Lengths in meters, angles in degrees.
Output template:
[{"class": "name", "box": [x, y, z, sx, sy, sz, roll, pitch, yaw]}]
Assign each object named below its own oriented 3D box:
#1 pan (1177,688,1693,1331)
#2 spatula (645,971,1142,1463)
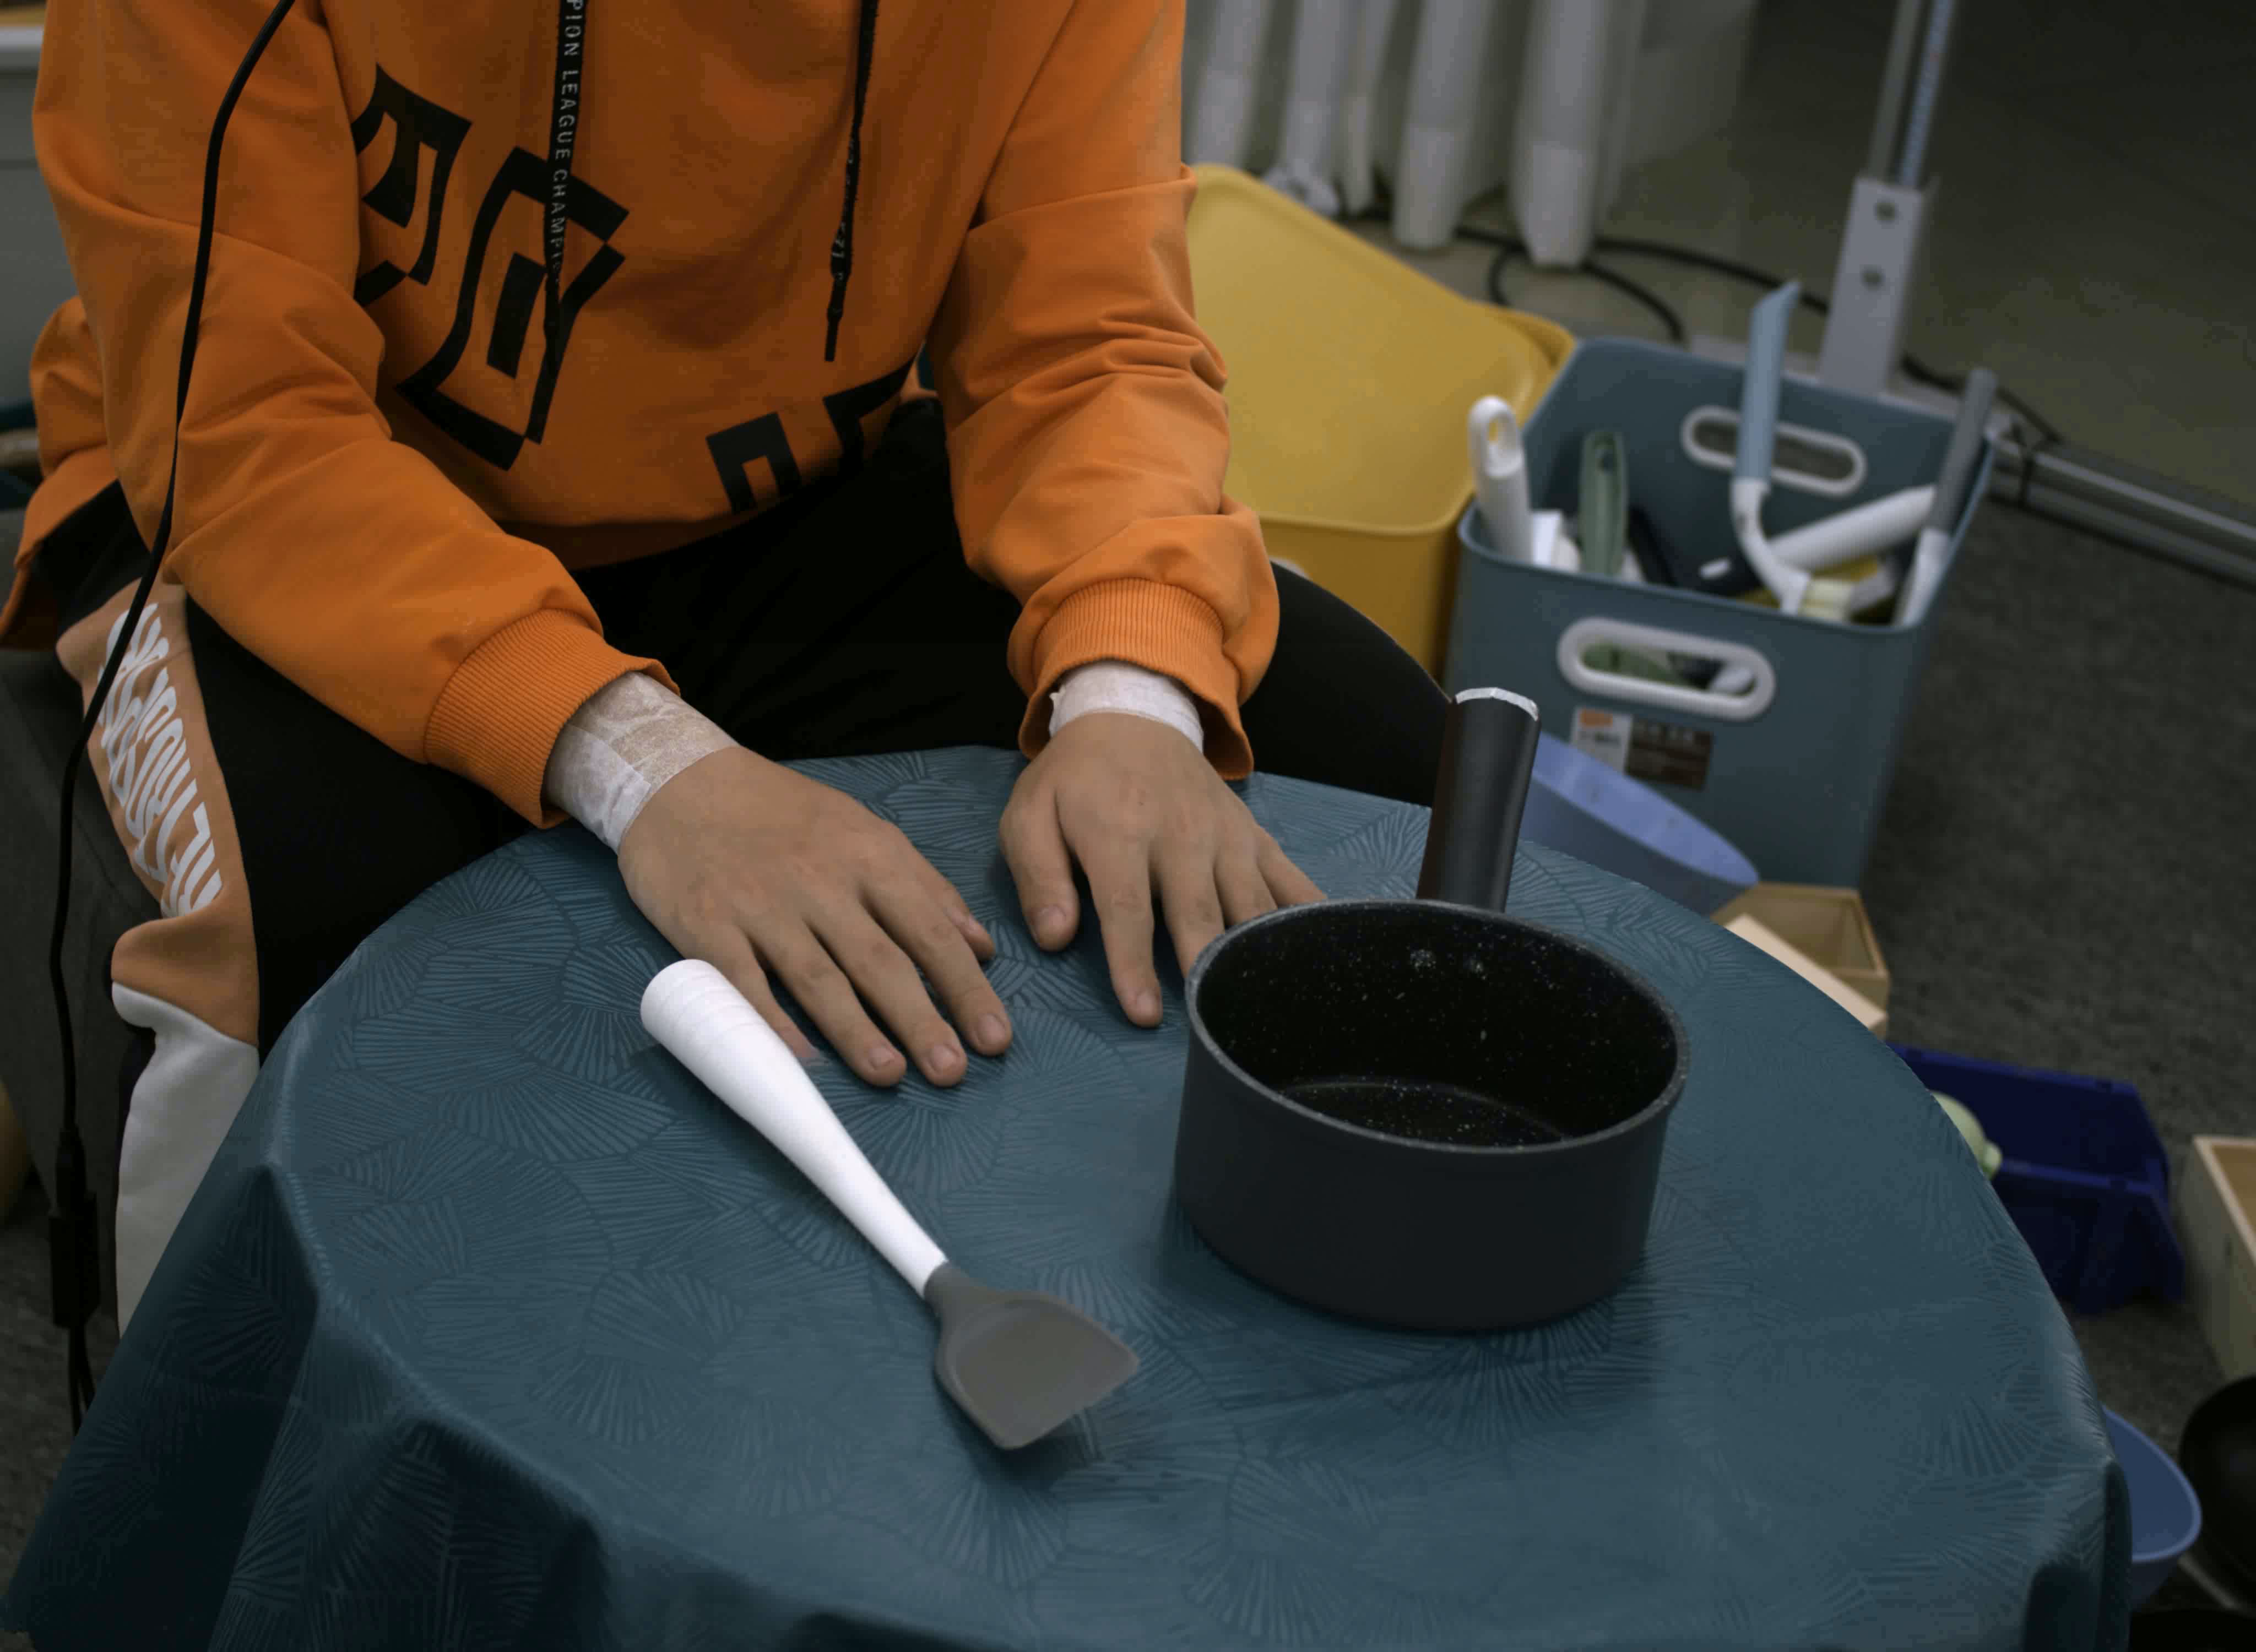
[{"class": "pan", "box": [0.114, 0.059, 1.861, 0.172, 0.086, 0.330, 11, 29, 7]}, {"class": "spatula", "box": [-0.082, 0.126, 1.745, 0.058, 0.032, 0.290, -30, 38, -16]}]
